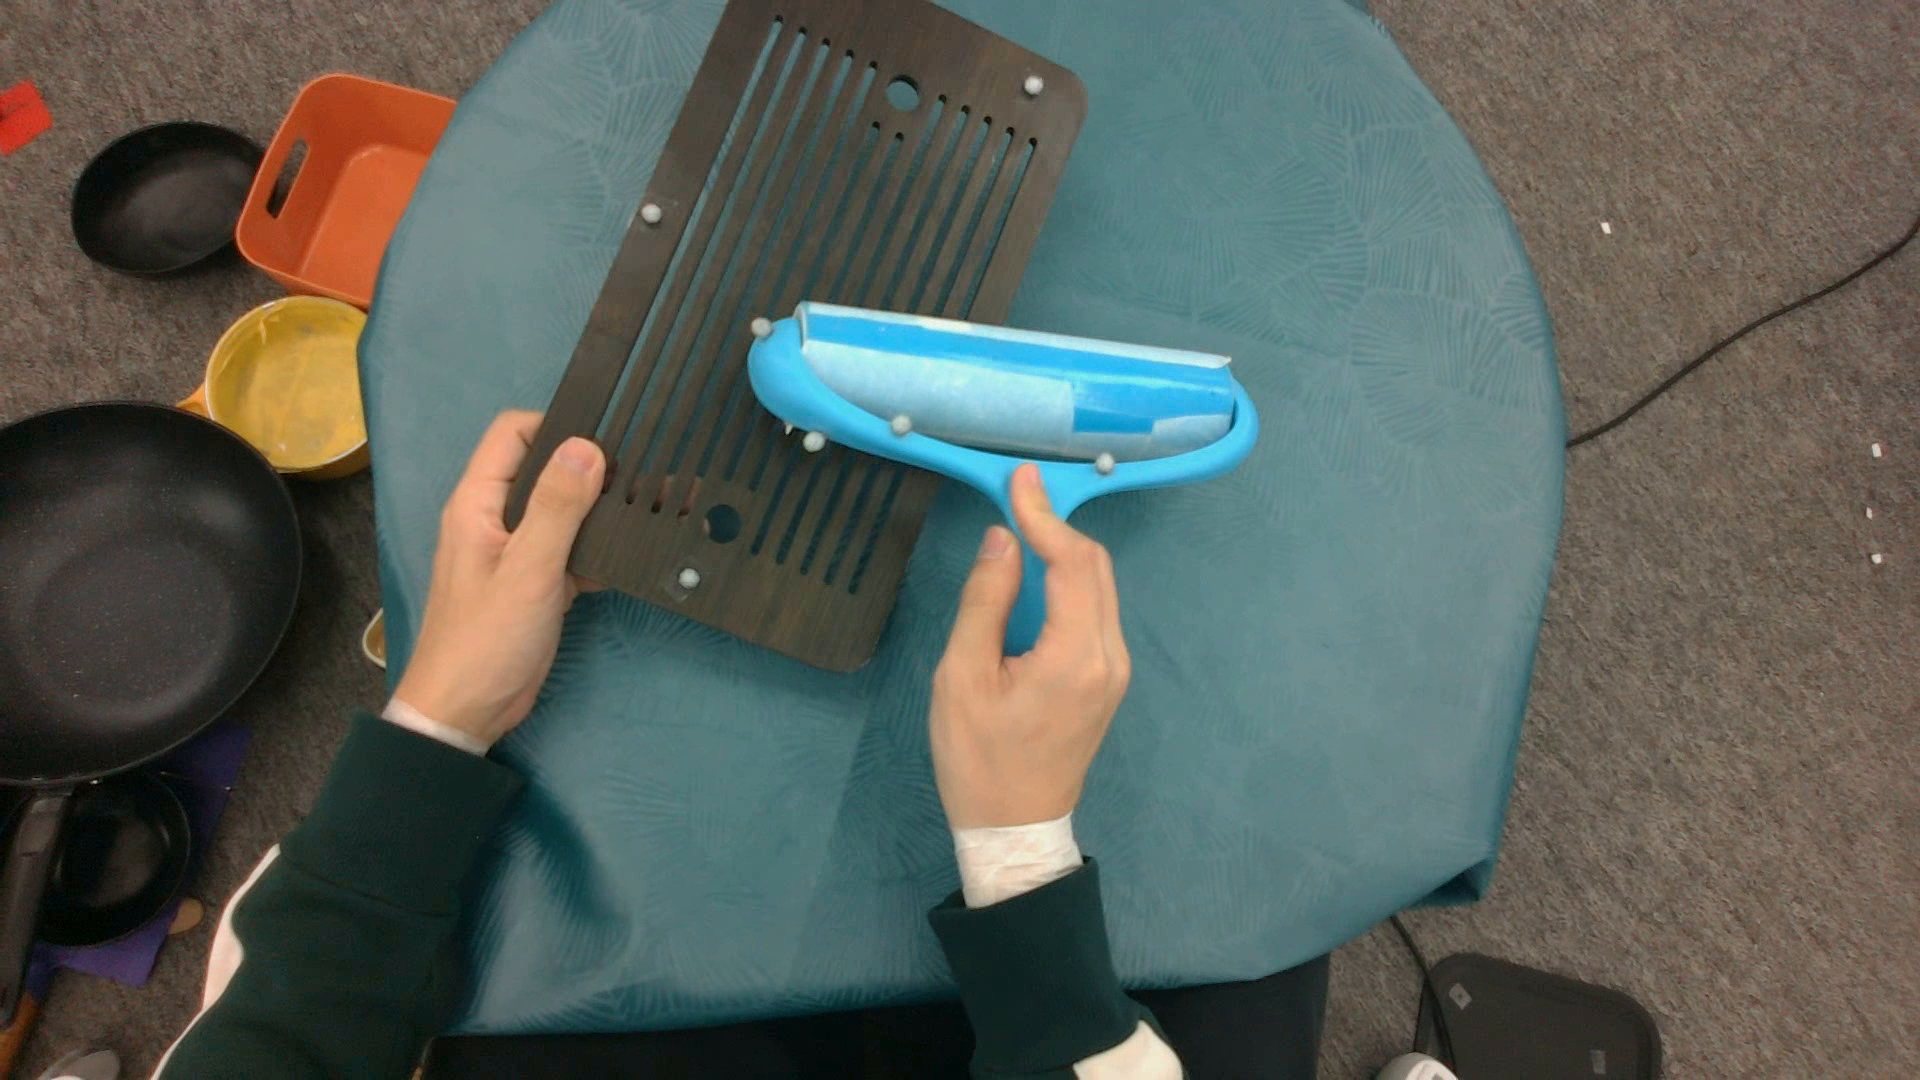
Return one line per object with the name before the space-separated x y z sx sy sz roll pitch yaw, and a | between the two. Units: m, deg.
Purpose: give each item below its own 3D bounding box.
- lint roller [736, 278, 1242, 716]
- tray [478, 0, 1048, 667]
lint roller | 0.023 -0.020 0.582 0.229 0.067 0.180 2 71 -22
tray | -0.083 -0.110 0.623 0.170 0.018 0.306 20 81 -8
